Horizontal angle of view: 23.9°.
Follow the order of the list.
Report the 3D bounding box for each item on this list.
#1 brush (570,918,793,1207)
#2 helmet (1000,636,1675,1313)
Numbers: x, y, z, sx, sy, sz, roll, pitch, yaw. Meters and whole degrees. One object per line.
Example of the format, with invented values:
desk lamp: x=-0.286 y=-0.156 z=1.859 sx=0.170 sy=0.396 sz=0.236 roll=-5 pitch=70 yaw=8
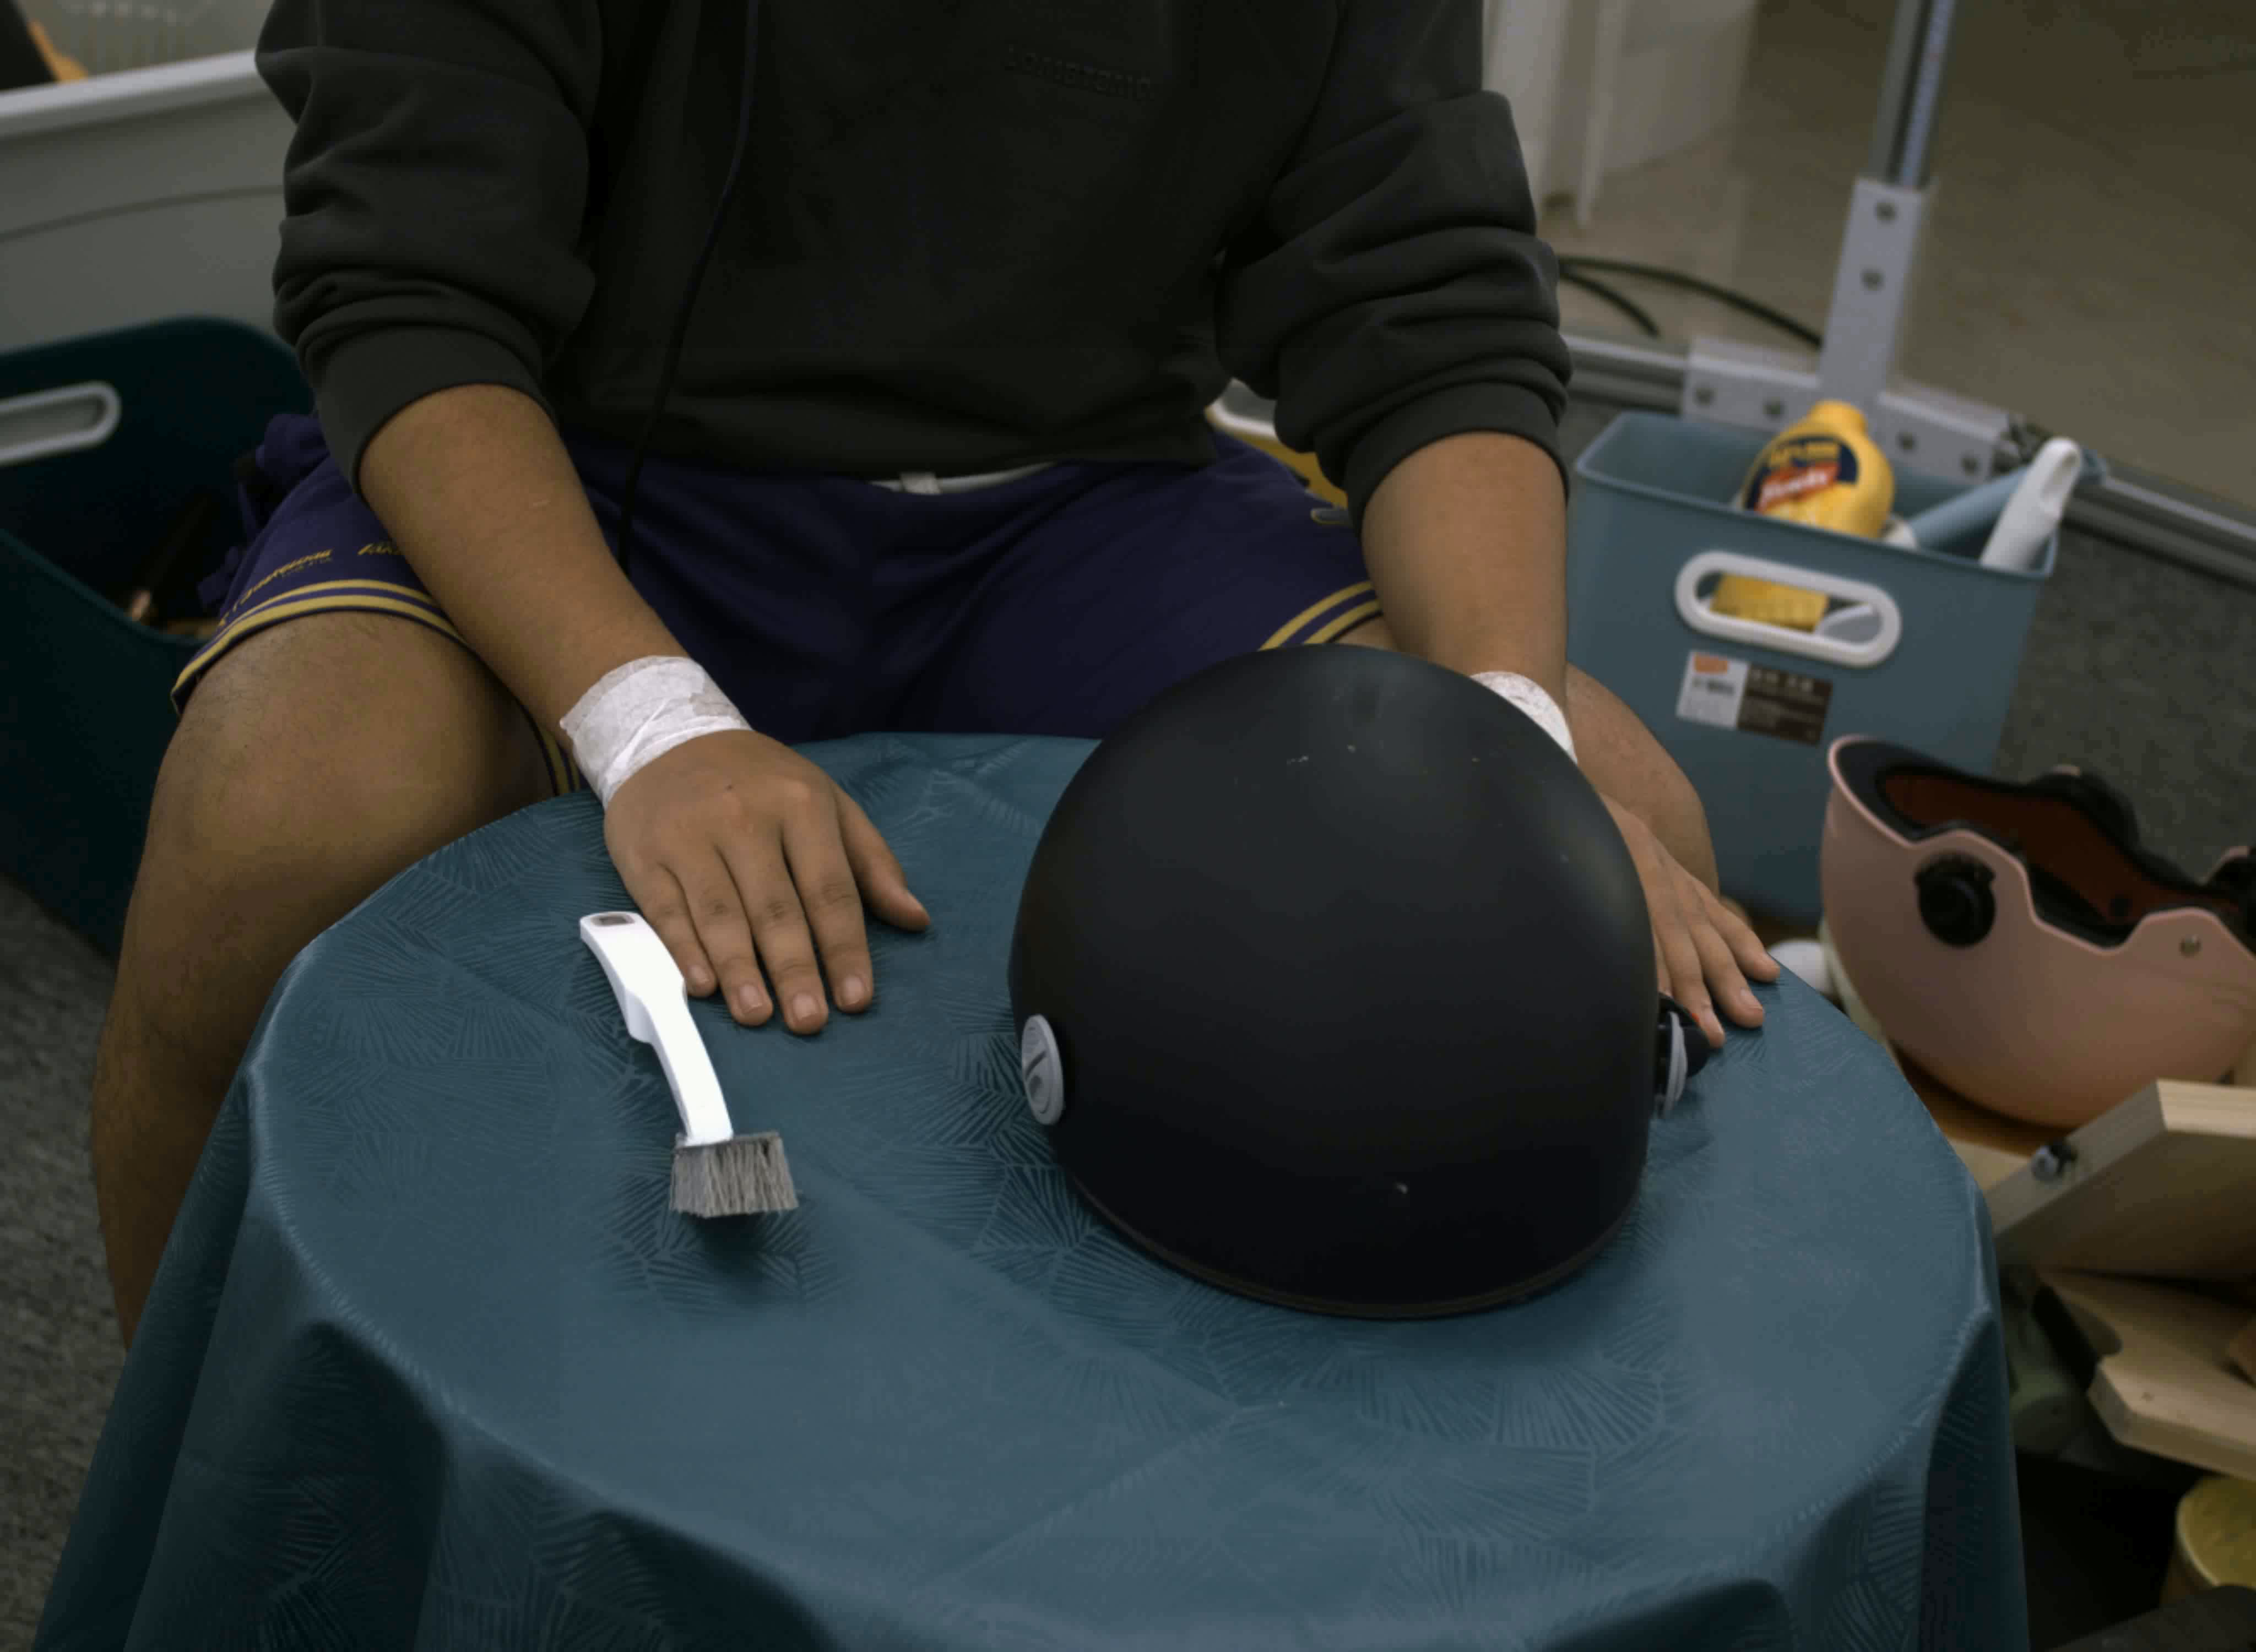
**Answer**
brush: x=-0.156 y=0.083 z=1.820 sx=0.034 sy=0.050 sz=0.245 roll=-6 pitch=16 yaw=-16
helmet: x=0.072 y=0.032 z=1.825 sx=0.229 sy=0.166 sz=0.275 roll=0 pitch=29 yaw=-7
